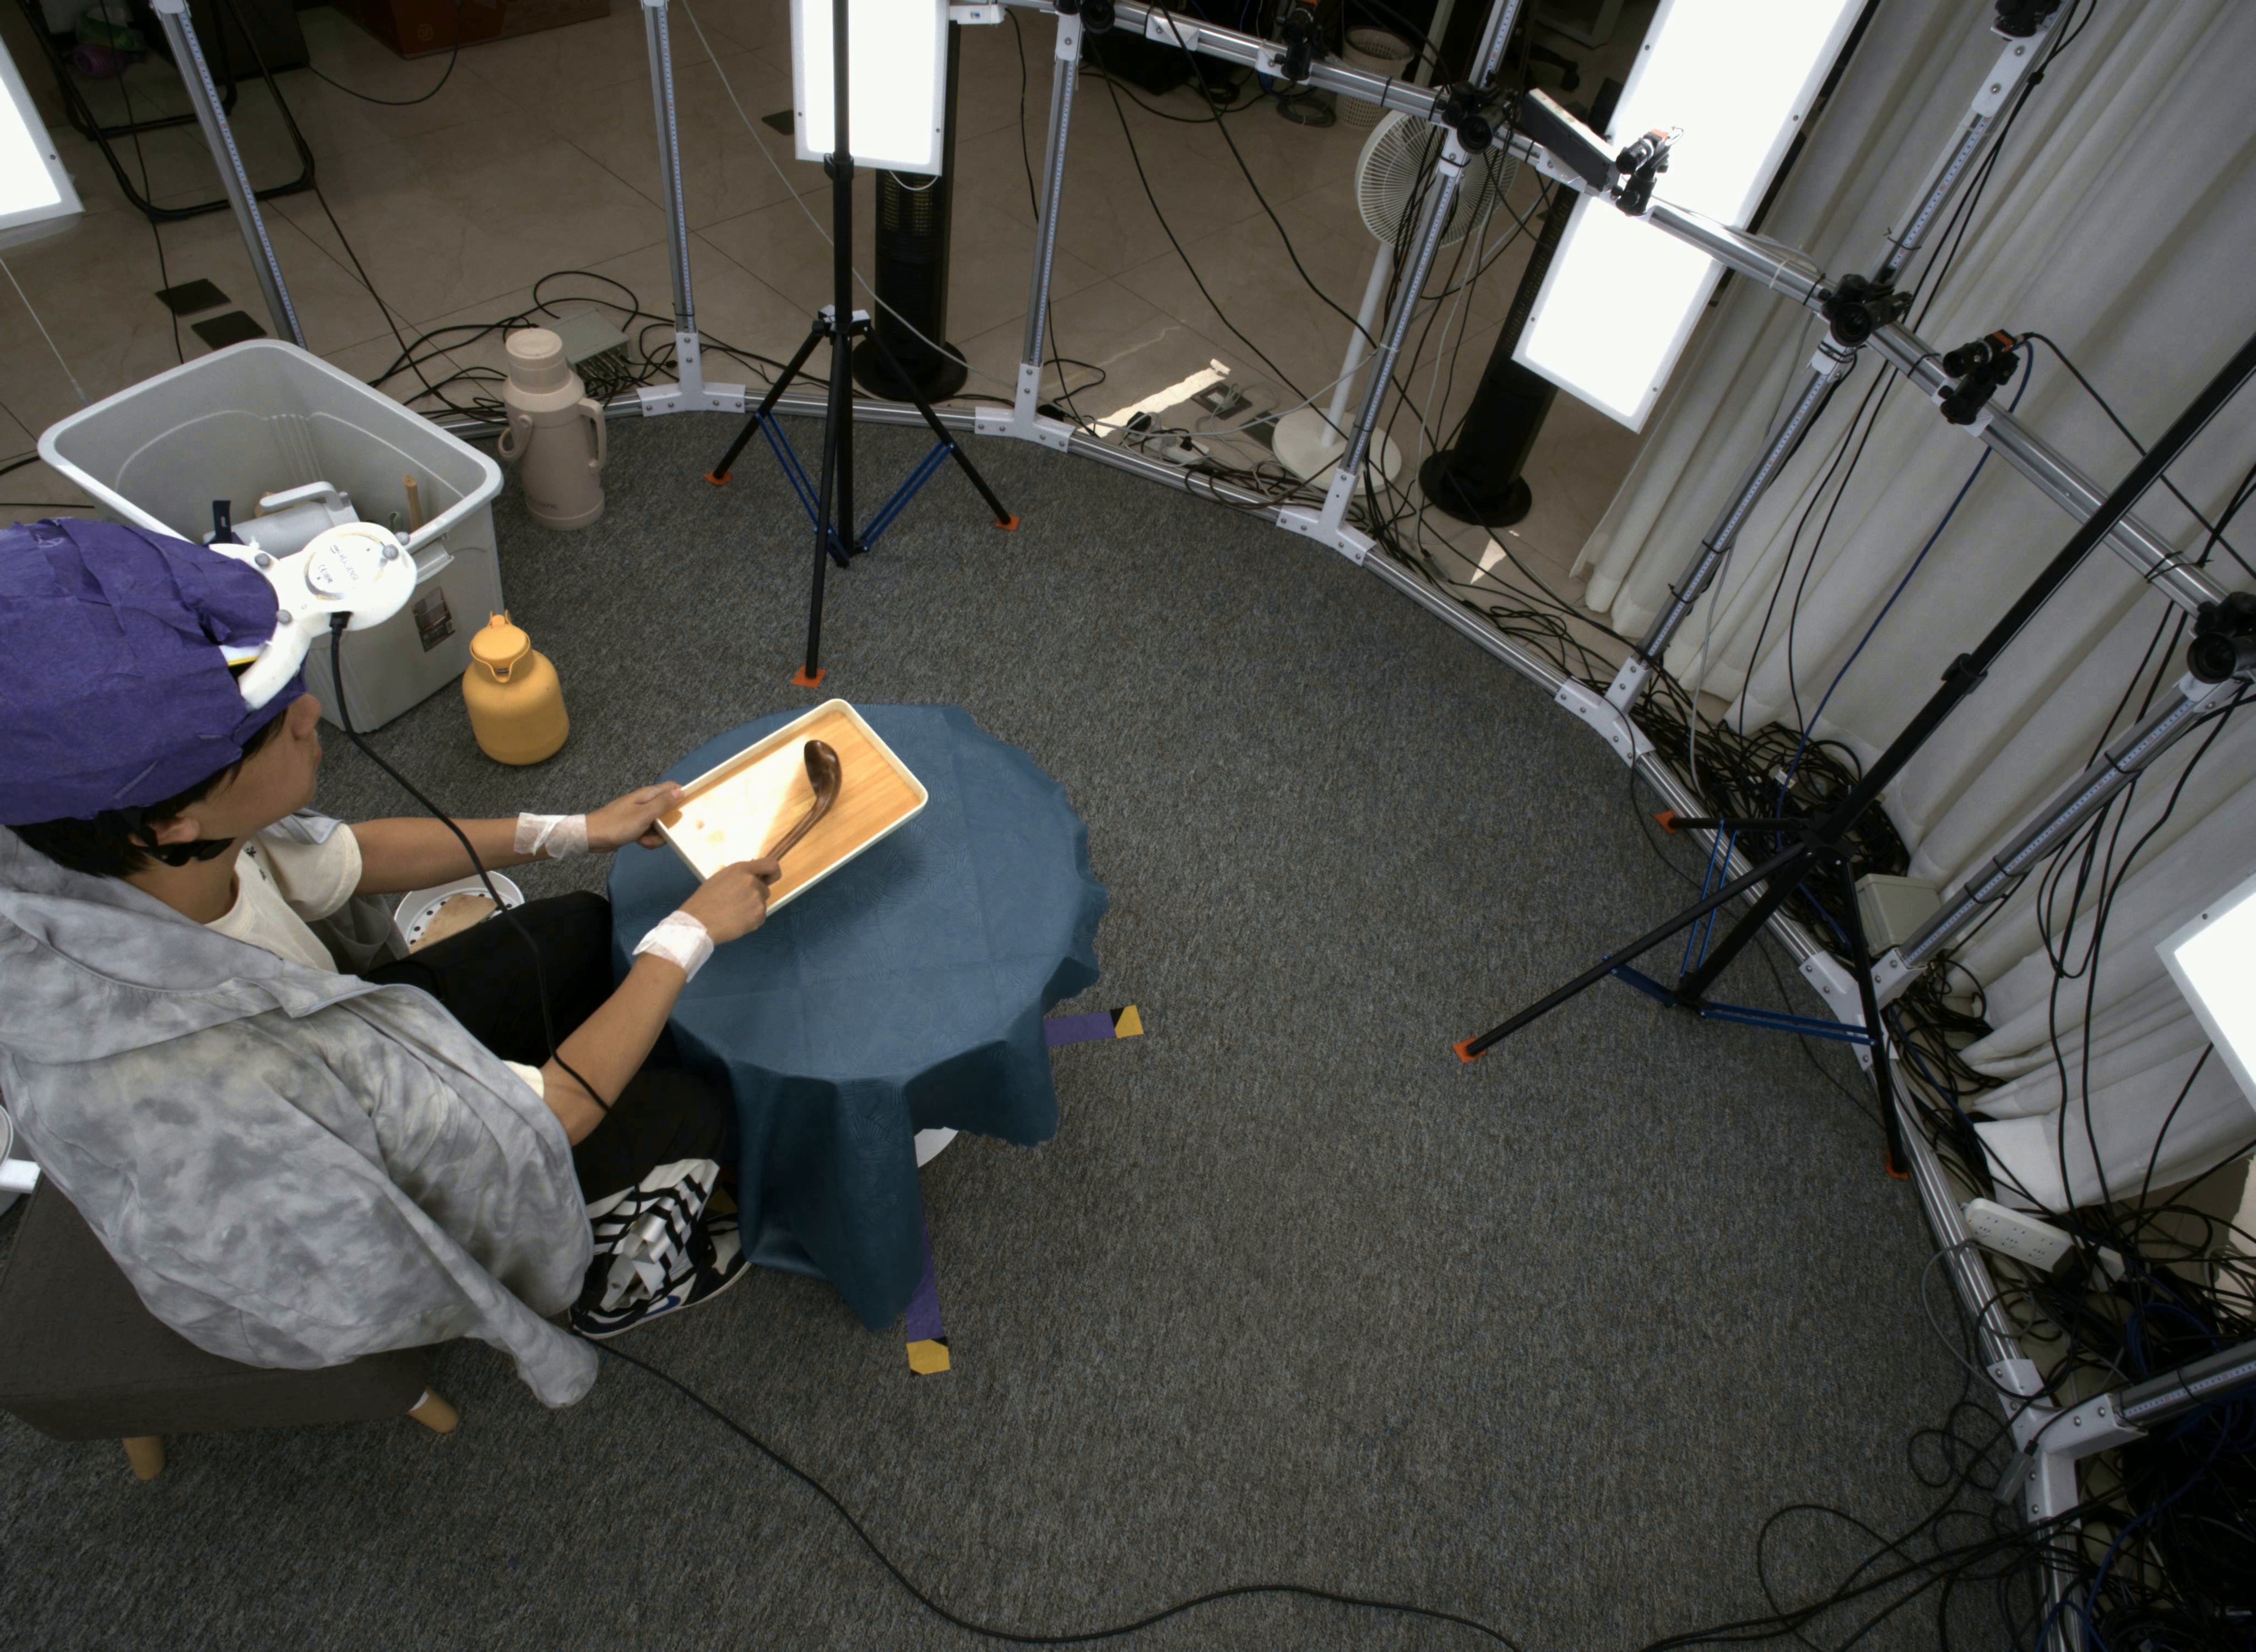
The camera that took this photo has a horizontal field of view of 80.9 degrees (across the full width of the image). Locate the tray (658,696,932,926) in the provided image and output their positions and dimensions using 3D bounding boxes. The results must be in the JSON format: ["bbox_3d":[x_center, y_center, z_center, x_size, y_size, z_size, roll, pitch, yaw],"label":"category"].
[{"bbox_3d":[-0.411,-0.026,1.615,0.190,0.027,0.301,48,56,5],"label":"tray"}]

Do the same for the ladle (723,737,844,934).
[{"bbox_3d":[-0.420,0.003,1.531,0.075,0.083,0.273,28,55,7],"label":"ladle"}]
